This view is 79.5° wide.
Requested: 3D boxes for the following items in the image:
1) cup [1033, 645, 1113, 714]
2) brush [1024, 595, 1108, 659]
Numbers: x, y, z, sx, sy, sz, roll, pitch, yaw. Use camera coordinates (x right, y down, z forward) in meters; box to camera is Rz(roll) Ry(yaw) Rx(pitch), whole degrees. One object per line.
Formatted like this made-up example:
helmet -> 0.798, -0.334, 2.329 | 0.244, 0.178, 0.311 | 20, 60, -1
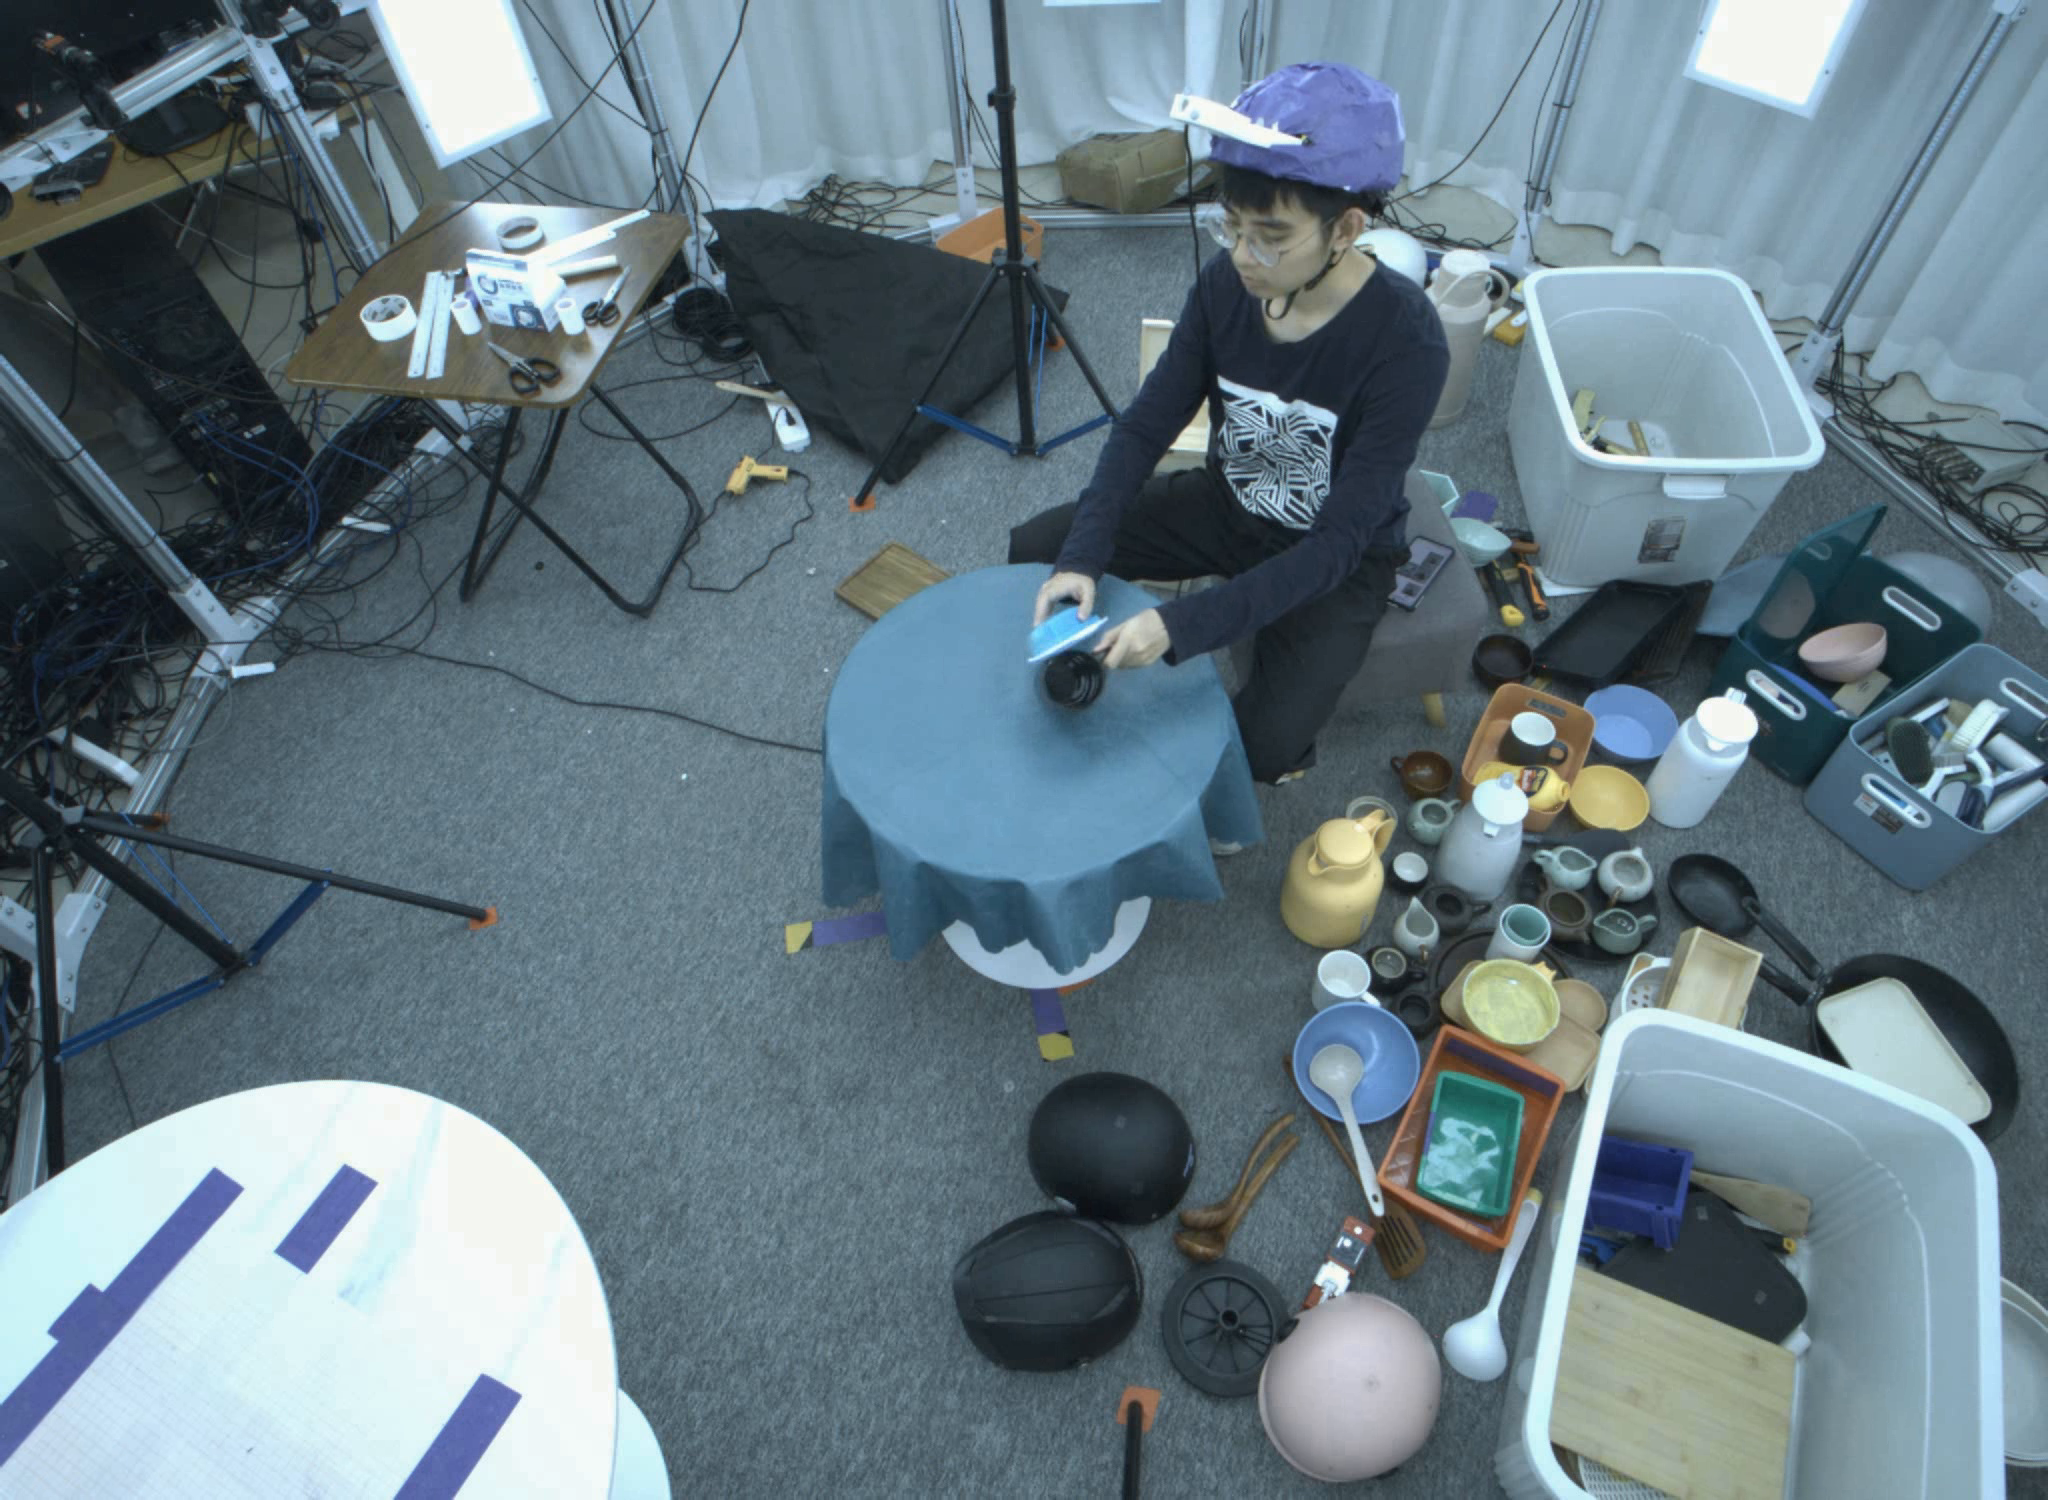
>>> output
cup -> 0.076, -0.109, 1.760 | 0.124, 0.104, 0.089 | -38, 94, -8
brush -> 0.055, -0.179, 1.762 | 0.145, 0.082, 0.056 | -41, 104, -49
